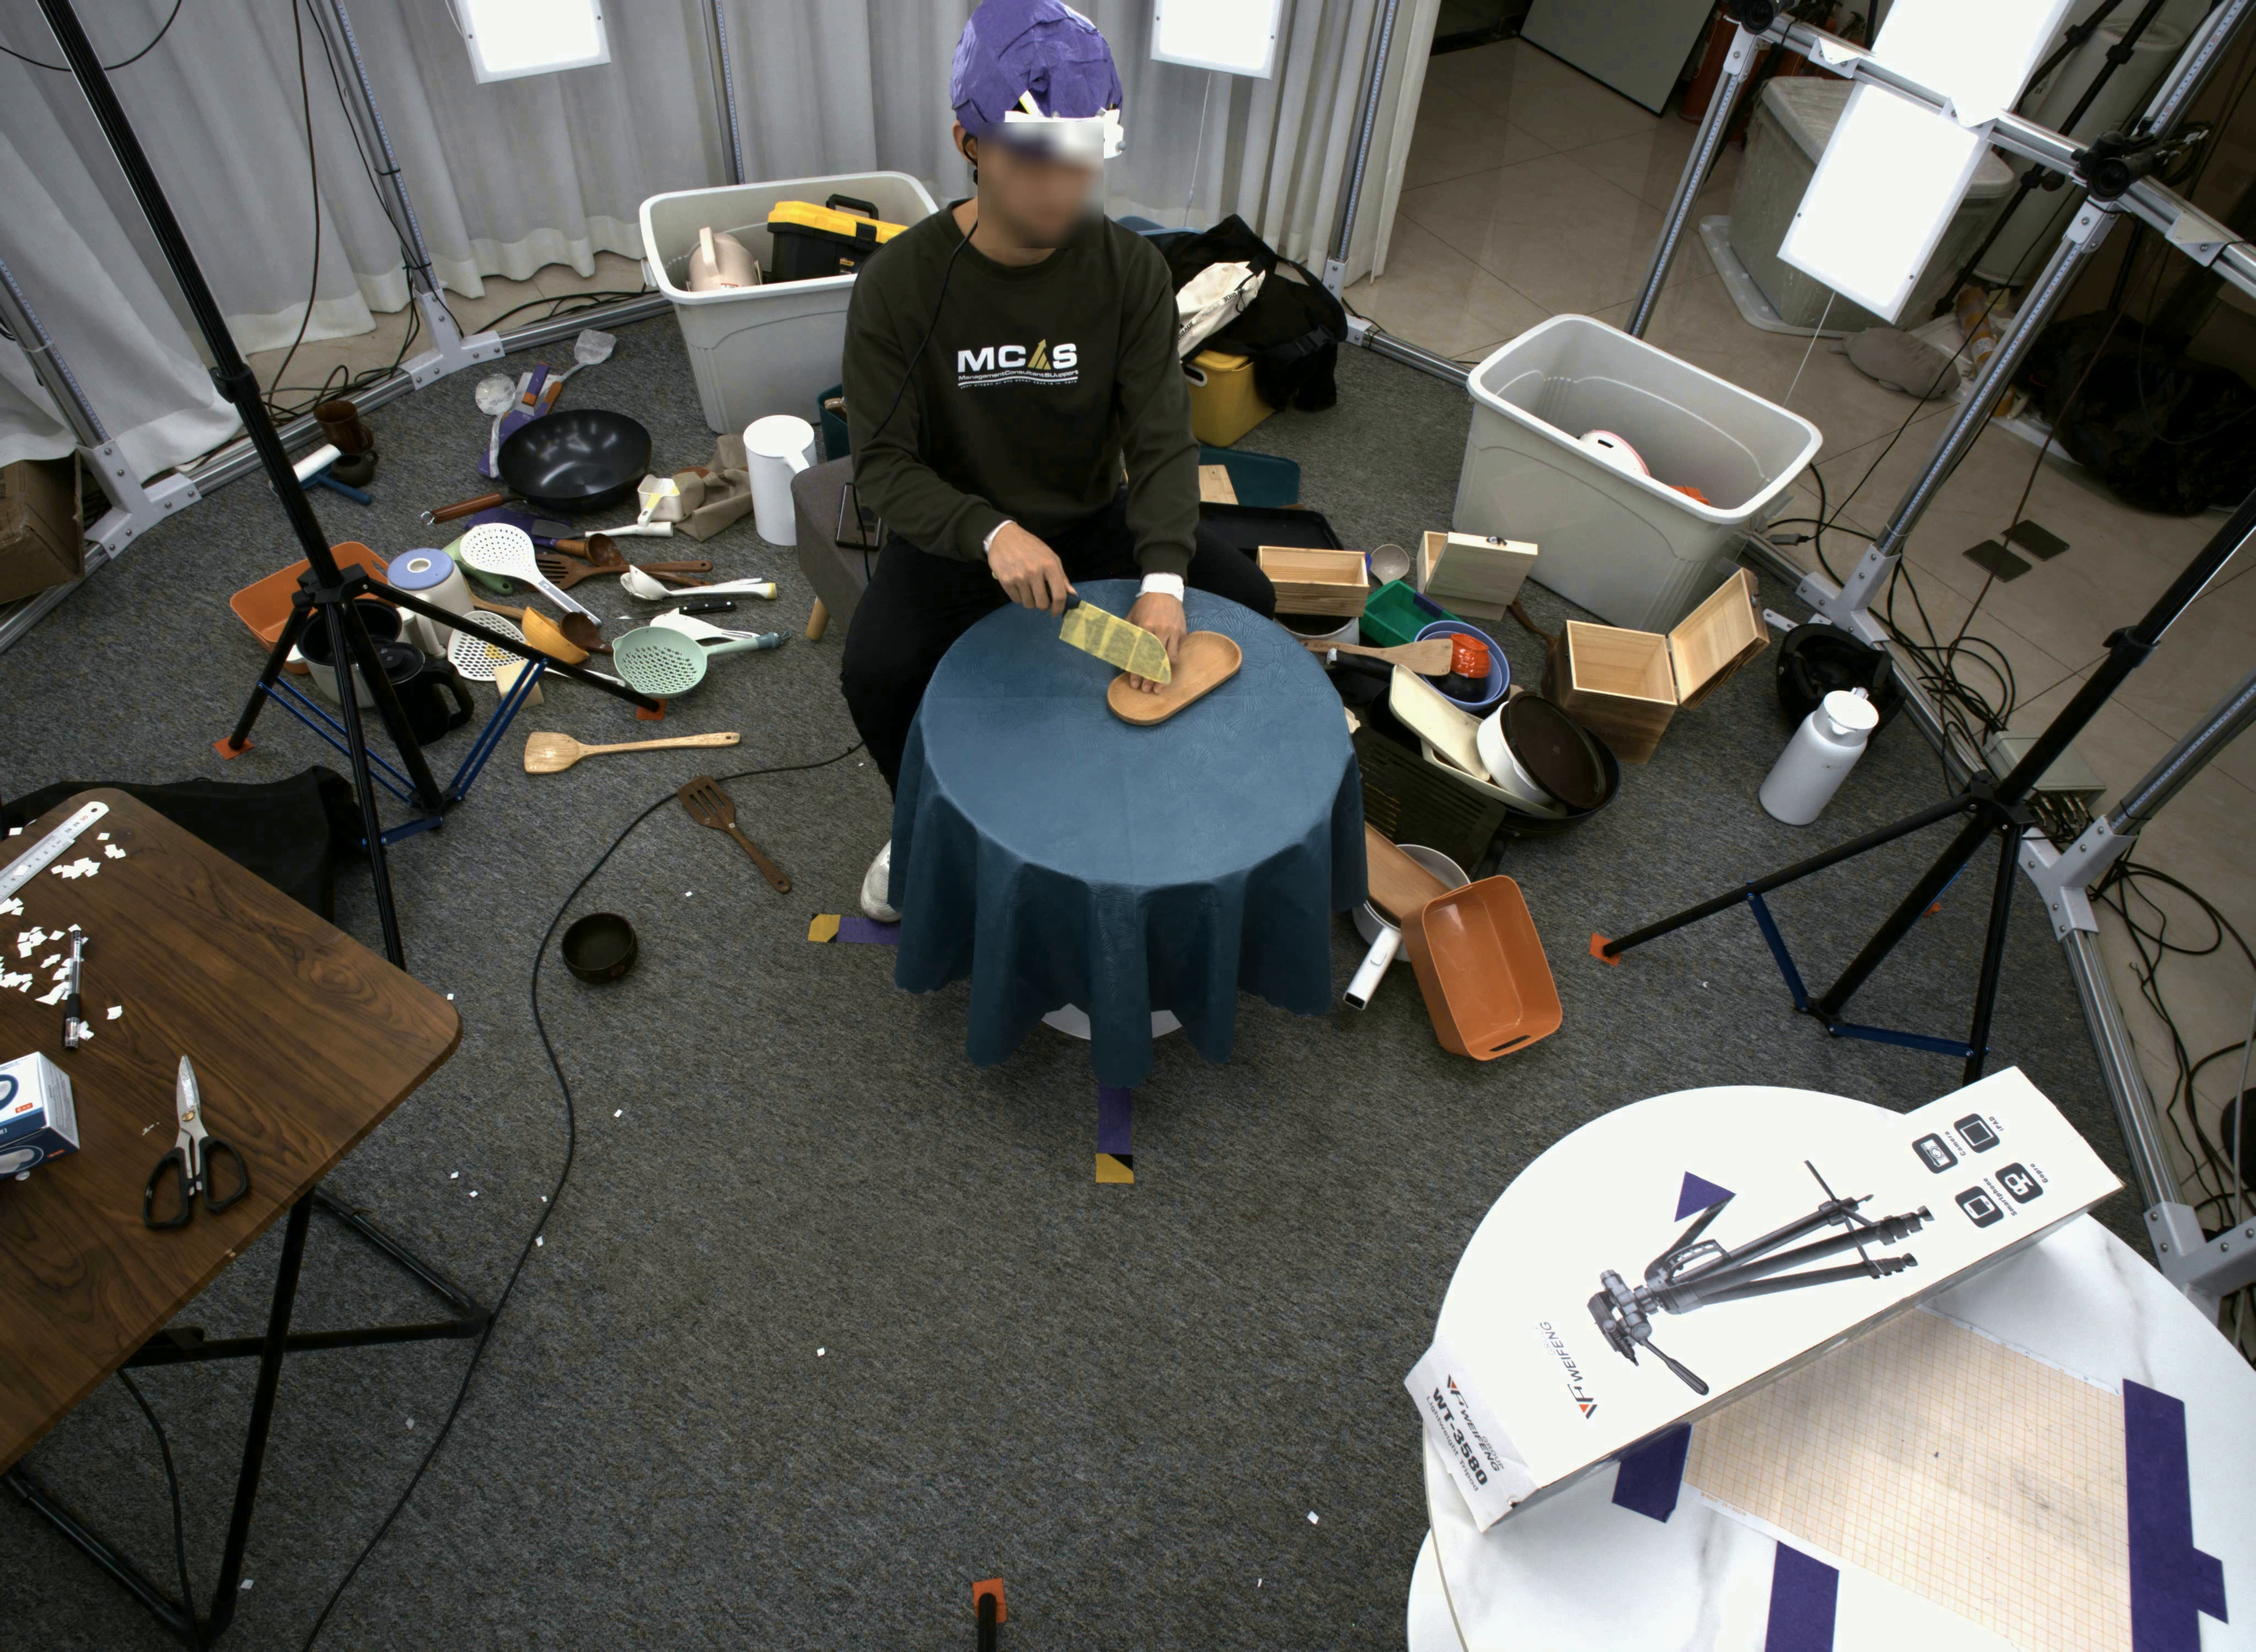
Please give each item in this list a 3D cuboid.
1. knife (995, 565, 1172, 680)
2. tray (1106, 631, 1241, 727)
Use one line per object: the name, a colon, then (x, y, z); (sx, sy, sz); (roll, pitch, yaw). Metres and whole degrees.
knife: (-0.064, -0.286, 1.807); (0.291, 0.079, 0.027); (30, 36, 8)
tray: (0.067, -0.213, 1.846); (0.233, 0.020, 0.103); (-35, 58, -27)
